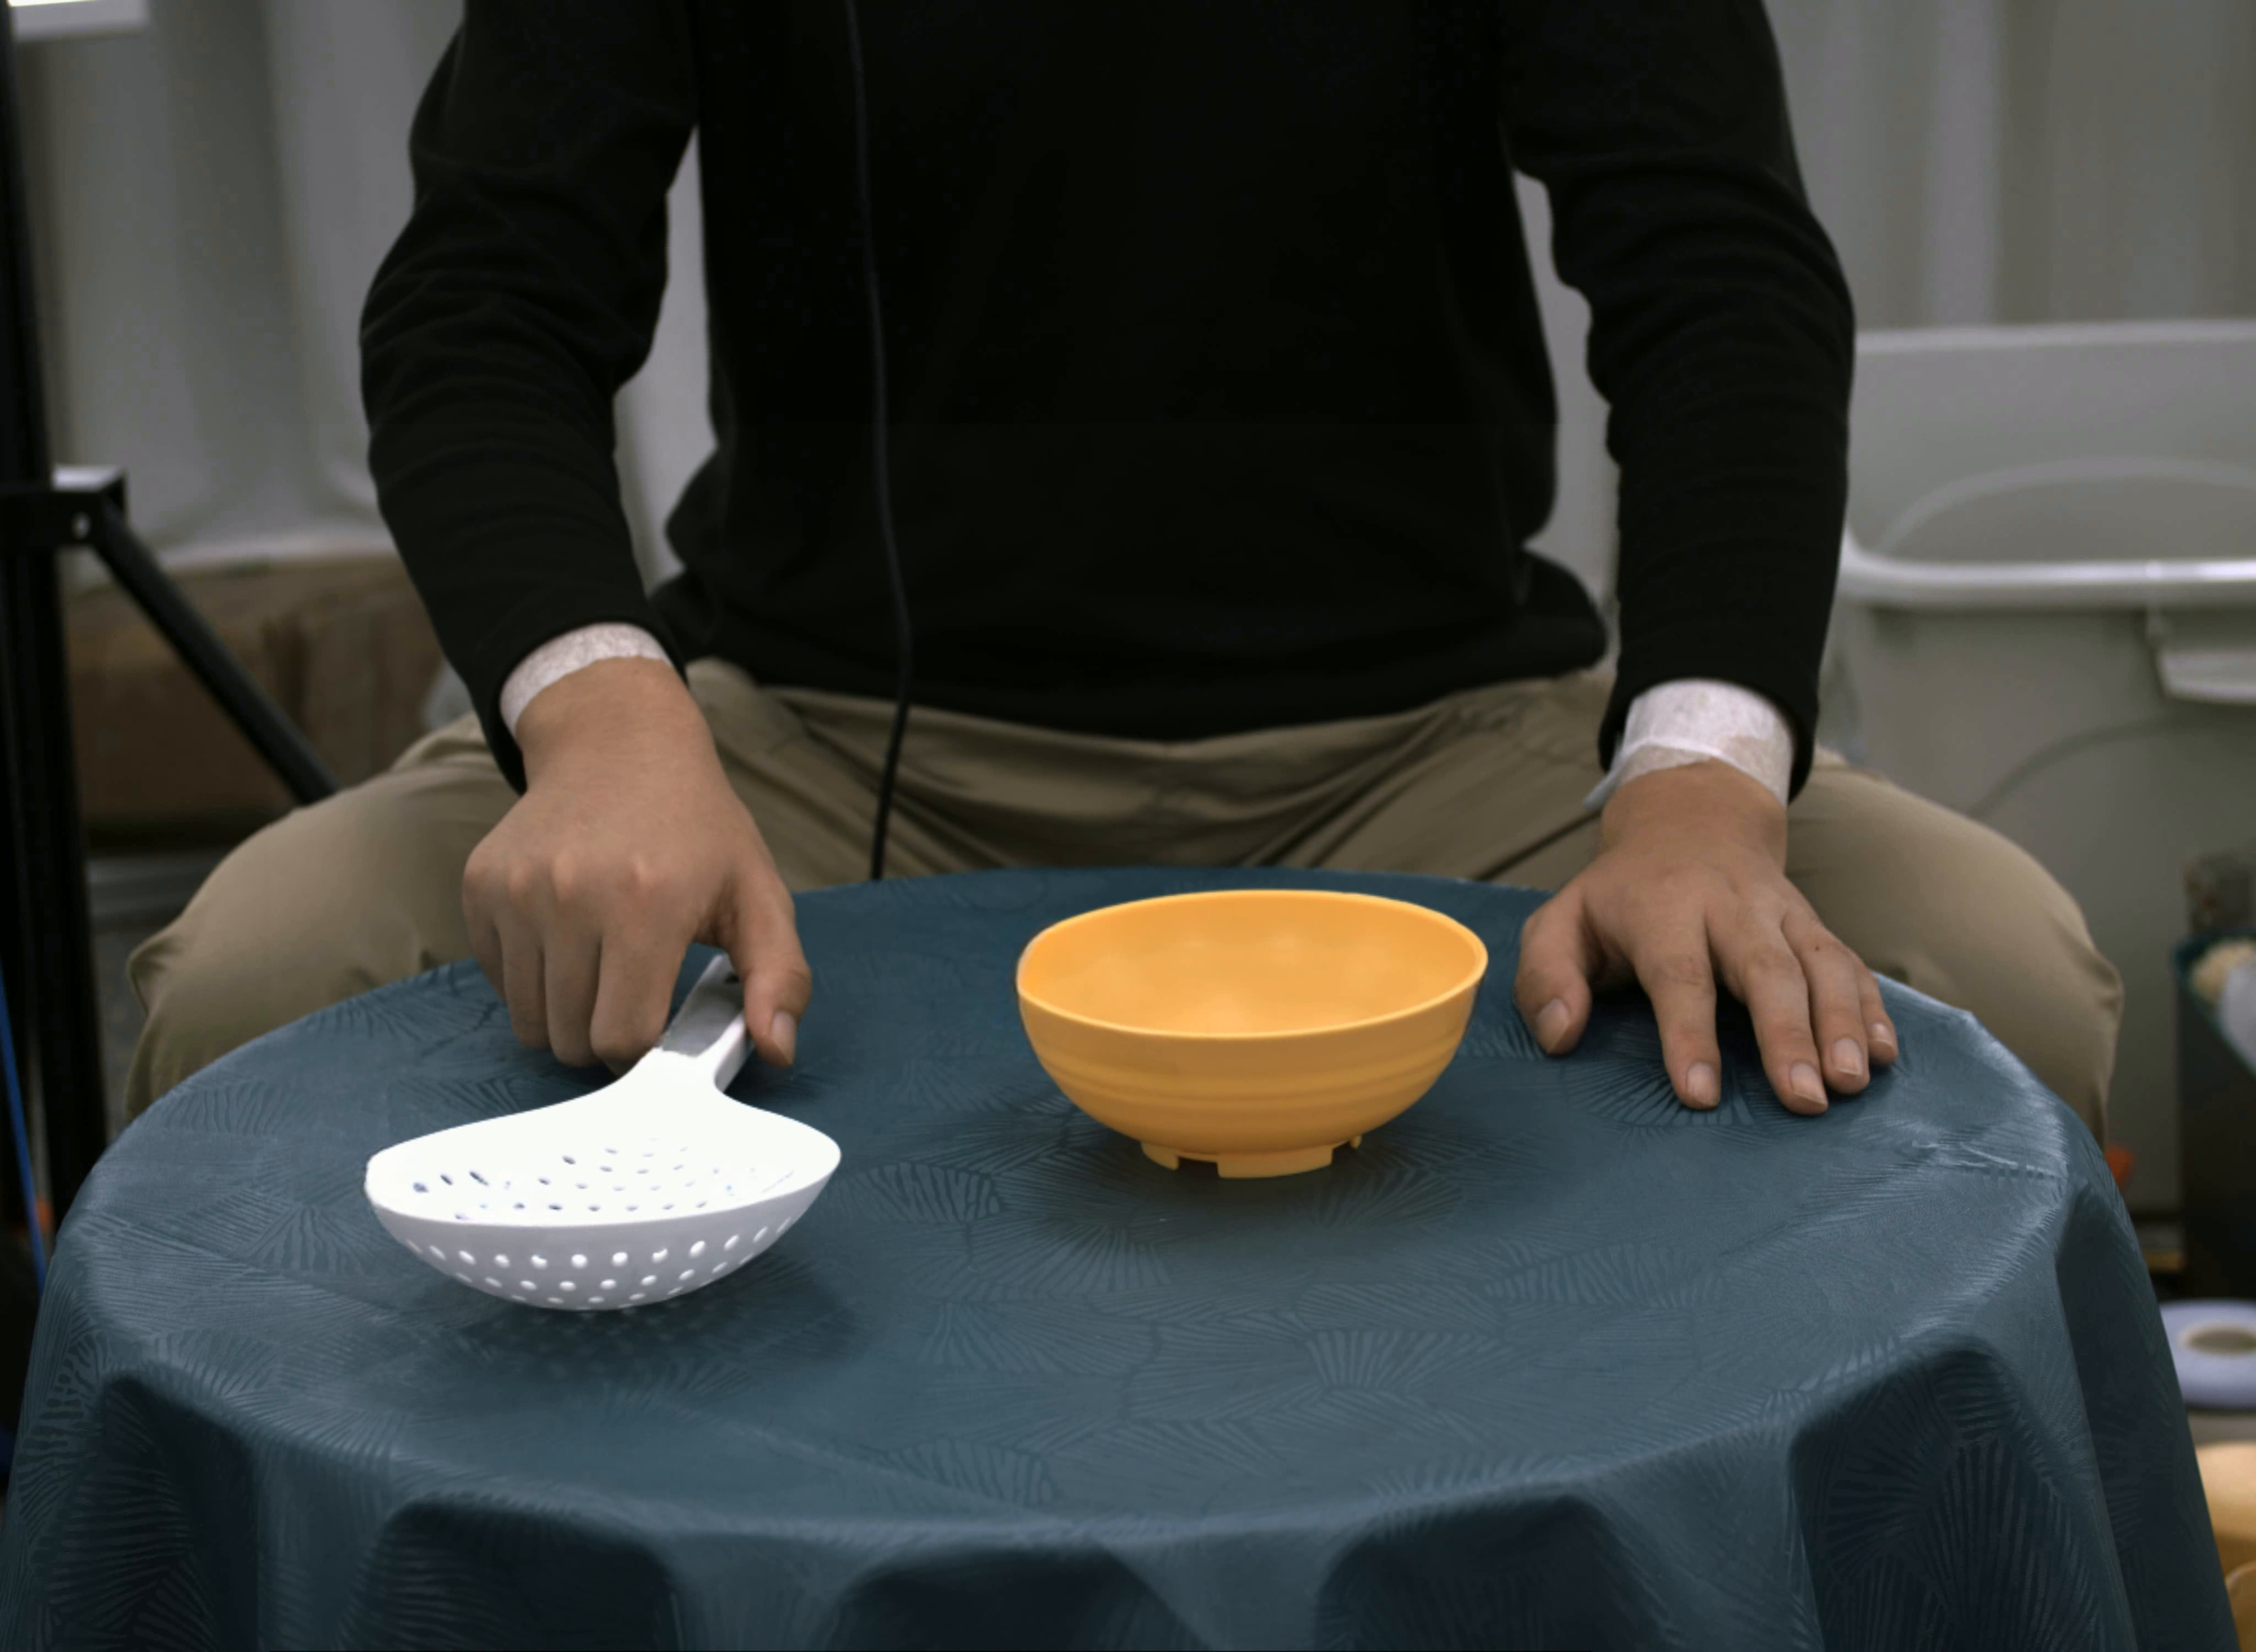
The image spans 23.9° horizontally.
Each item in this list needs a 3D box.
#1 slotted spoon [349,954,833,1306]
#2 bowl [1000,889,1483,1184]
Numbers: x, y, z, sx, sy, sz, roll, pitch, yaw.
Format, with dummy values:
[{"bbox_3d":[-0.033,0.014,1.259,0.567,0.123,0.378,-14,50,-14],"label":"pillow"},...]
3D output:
[{"bbox_3d":[-0.140,0.081,1.591,0.136,0.046,0.349,-2,15,6],"label":"slotted spoon"},{"bbox_3d":[0.034,0.069,1.589,0.144,0.060,0.146,-1,16,-1],"label":"bowl"}]
